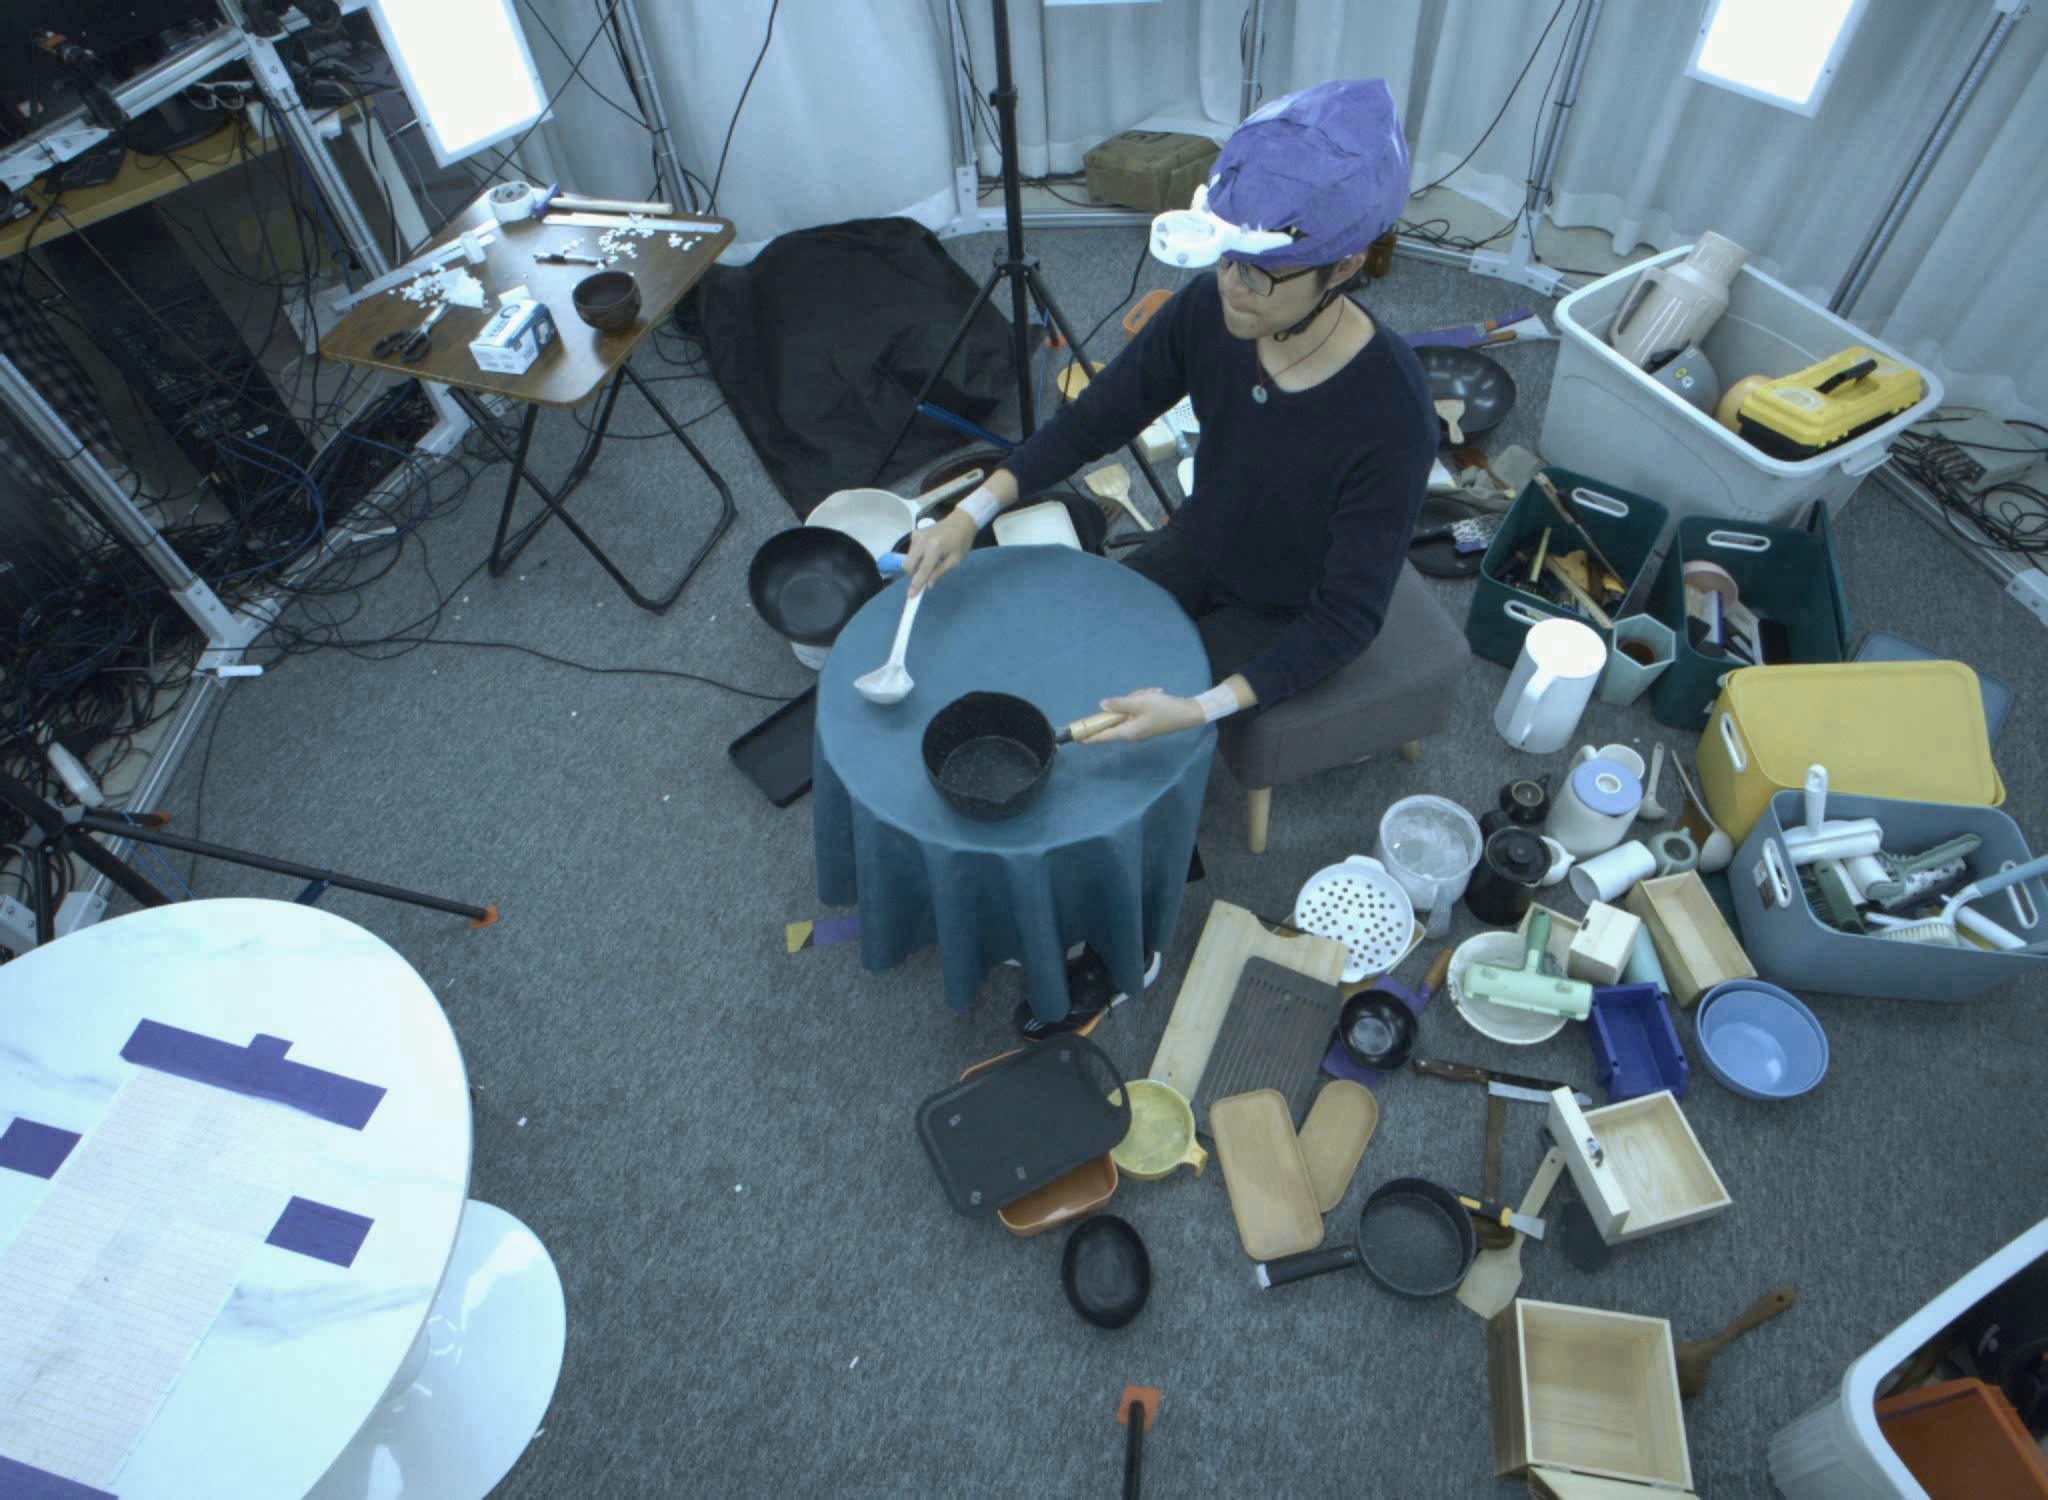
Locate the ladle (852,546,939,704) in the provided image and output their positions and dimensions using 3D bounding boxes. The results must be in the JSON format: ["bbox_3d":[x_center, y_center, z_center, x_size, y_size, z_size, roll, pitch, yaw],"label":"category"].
[{"bbox_3d":[-0.183,-0.199,1.832,0.088,0.071,0.274,9,75,24],"label":"ladle"}]

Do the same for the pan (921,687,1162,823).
[{"bbox_3d":[0.028,-0.008,1.726,0.344,0.109,0.204,-14,54,-8],"label":"pan"}]
